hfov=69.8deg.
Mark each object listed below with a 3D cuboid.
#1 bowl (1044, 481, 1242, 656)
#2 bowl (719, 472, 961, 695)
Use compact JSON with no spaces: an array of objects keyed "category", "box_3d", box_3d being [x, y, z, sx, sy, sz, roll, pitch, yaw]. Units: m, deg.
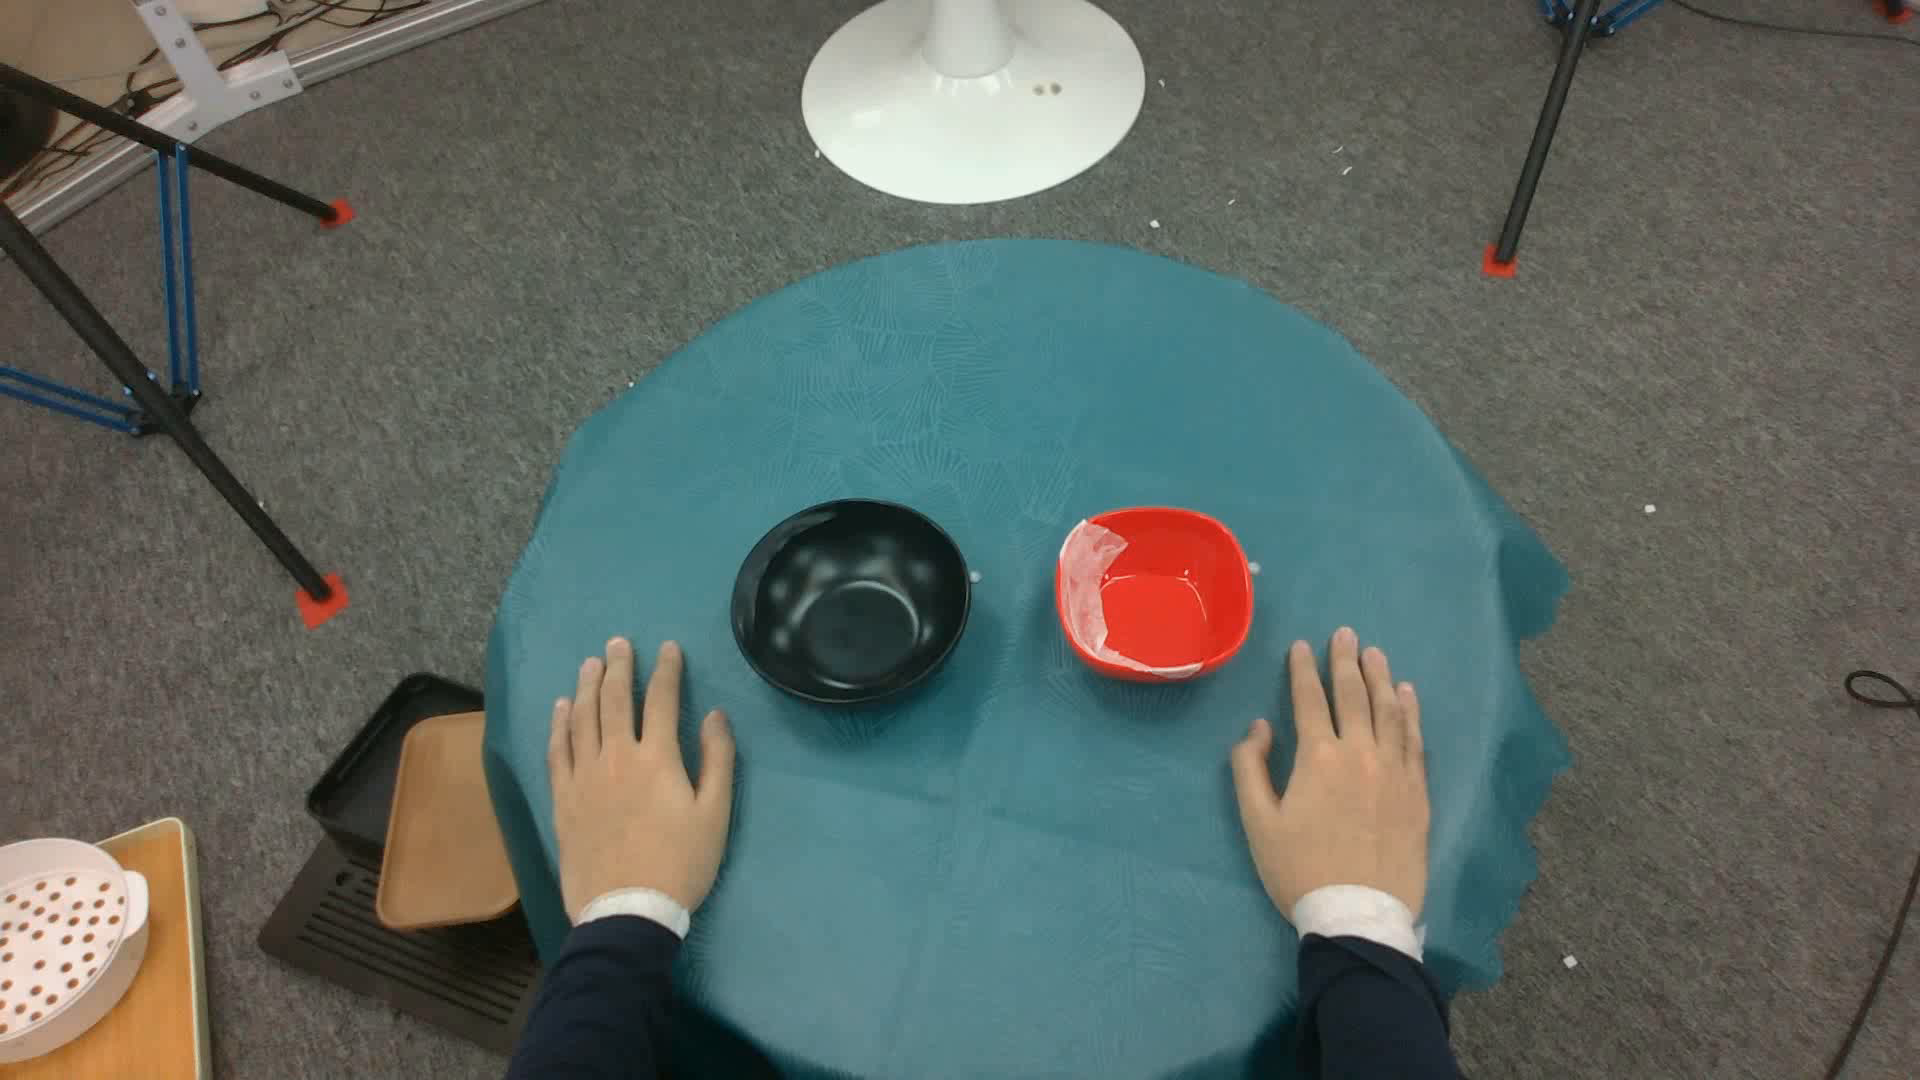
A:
[{"category":"bowl","box_3d":[0.103,0.024,0.788,0.119,0.051,0.119,-1,54,2]},{"category":"bowl","box_3d":[-0.067,0.032,0.801,0.140,0.049,0.140,-2,61,3]}]
